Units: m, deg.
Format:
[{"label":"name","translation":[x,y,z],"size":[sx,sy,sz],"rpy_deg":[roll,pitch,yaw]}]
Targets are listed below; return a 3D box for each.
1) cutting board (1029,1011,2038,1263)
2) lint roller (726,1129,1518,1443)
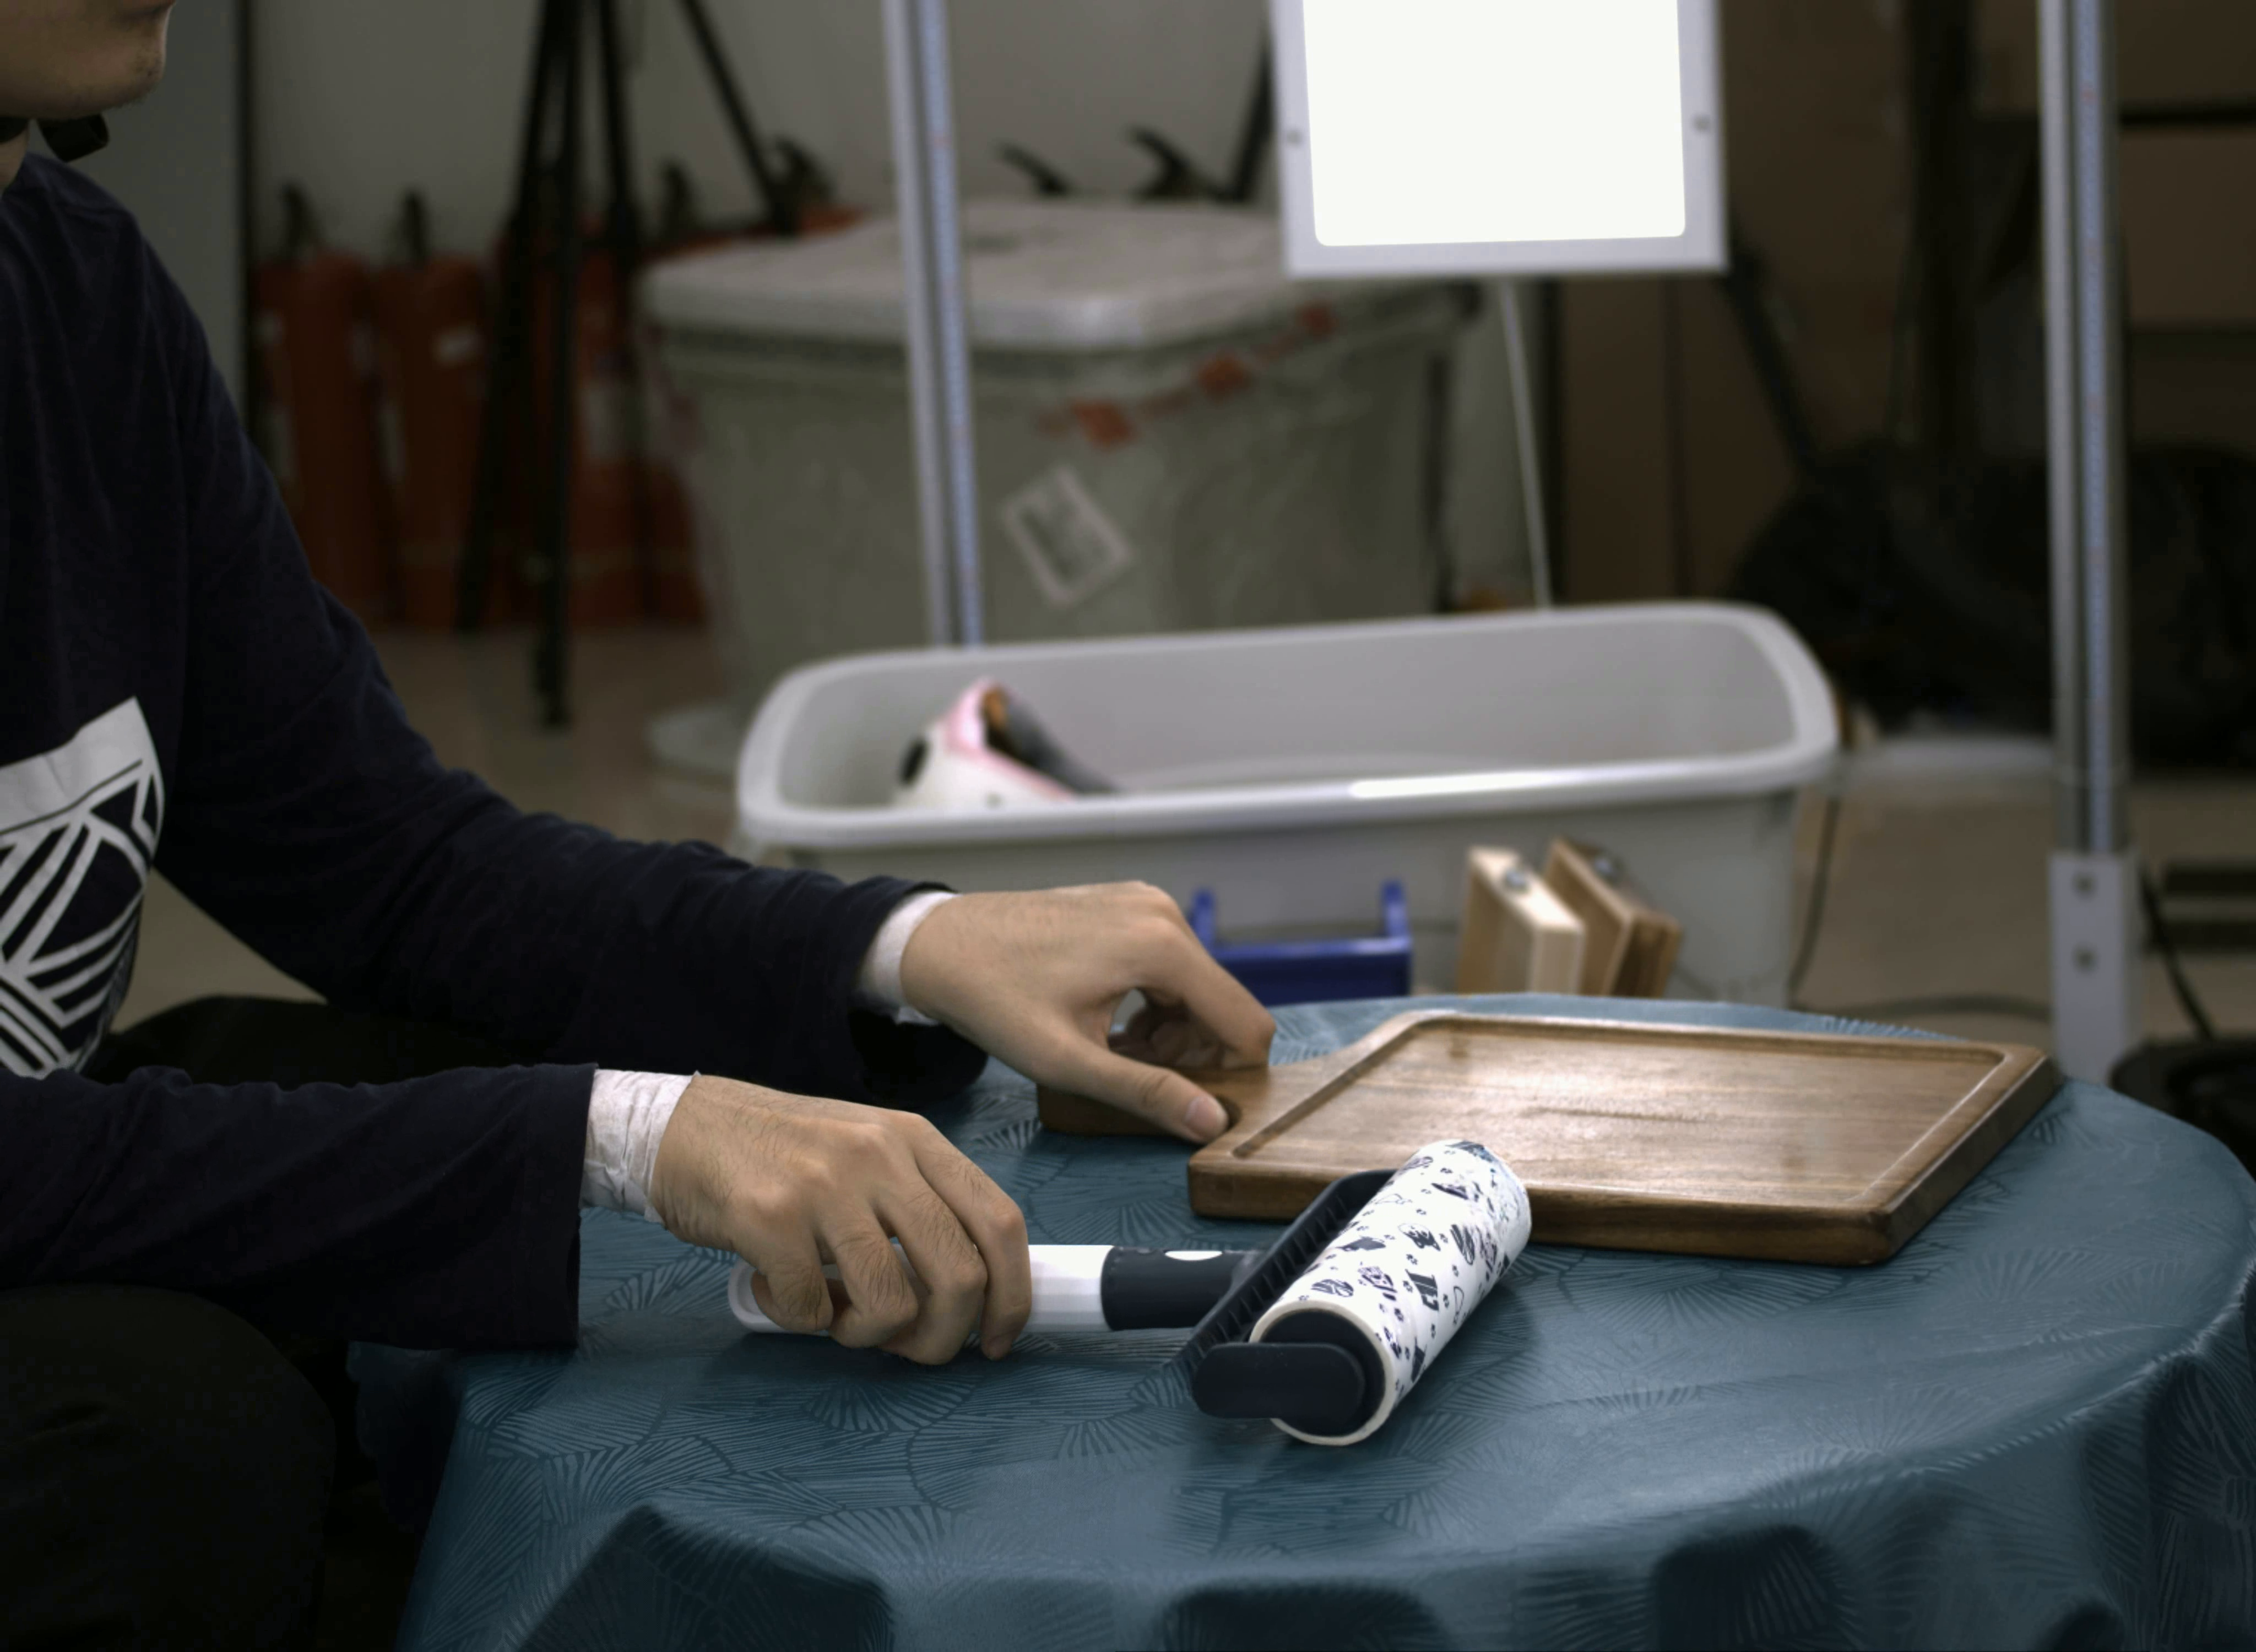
[{"label":"cutting board","translation":[0.126,0.102,1.912],"size":[0.358,0.023,0.197],"rpy_deg":[2,15,27]},{"label":"lint roller","translation":[-0.014,0.146,1.742],"size":[0.250,0.050,0.173],"rpy_deg":[-3,15,21]}]
